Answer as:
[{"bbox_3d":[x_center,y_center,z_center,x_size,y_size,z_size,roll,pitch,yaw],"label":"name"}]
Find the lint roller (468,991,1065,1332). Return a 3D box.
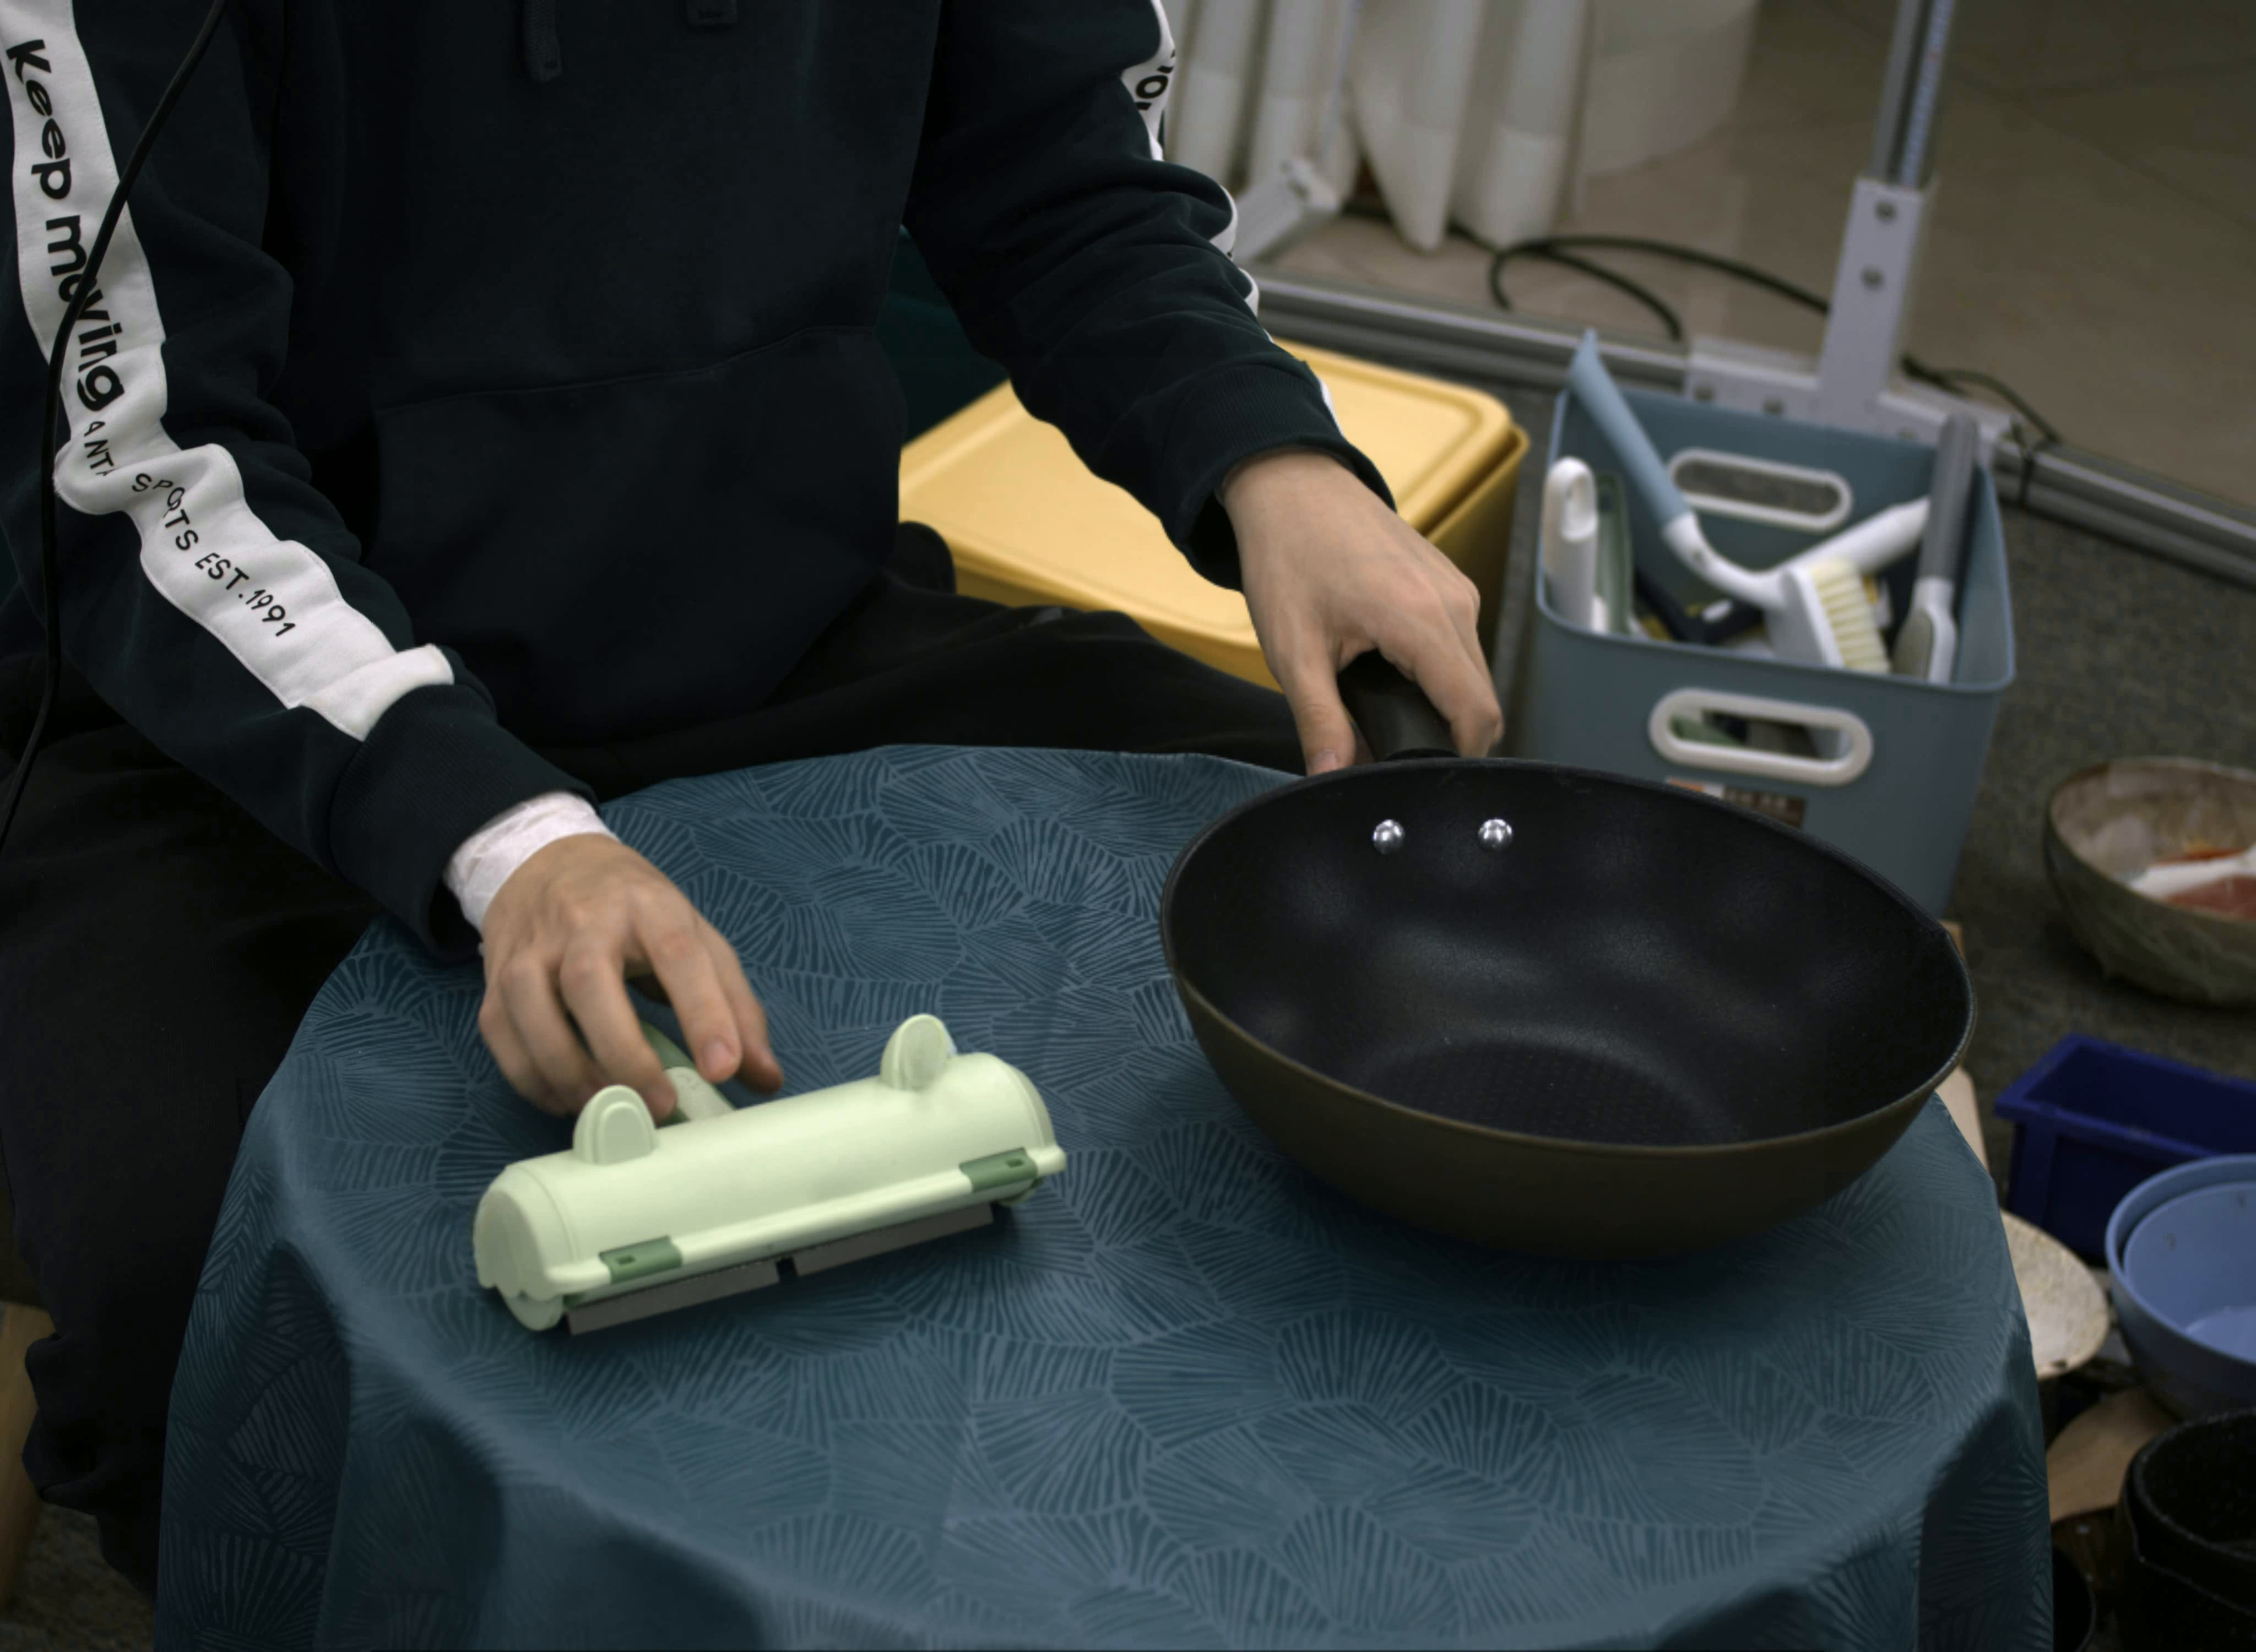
[{"bbox_3d":[-0.146,0.084,1.761,0.197,0.082,0.185,-12,37,-32],"label":"lint roller"}]

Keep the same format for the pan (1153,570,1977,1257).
[{"bbox_3d":[0.121,0.033,1.913,0.286,0.086,0.467,-3,27,-16],"label":"pan"}]
